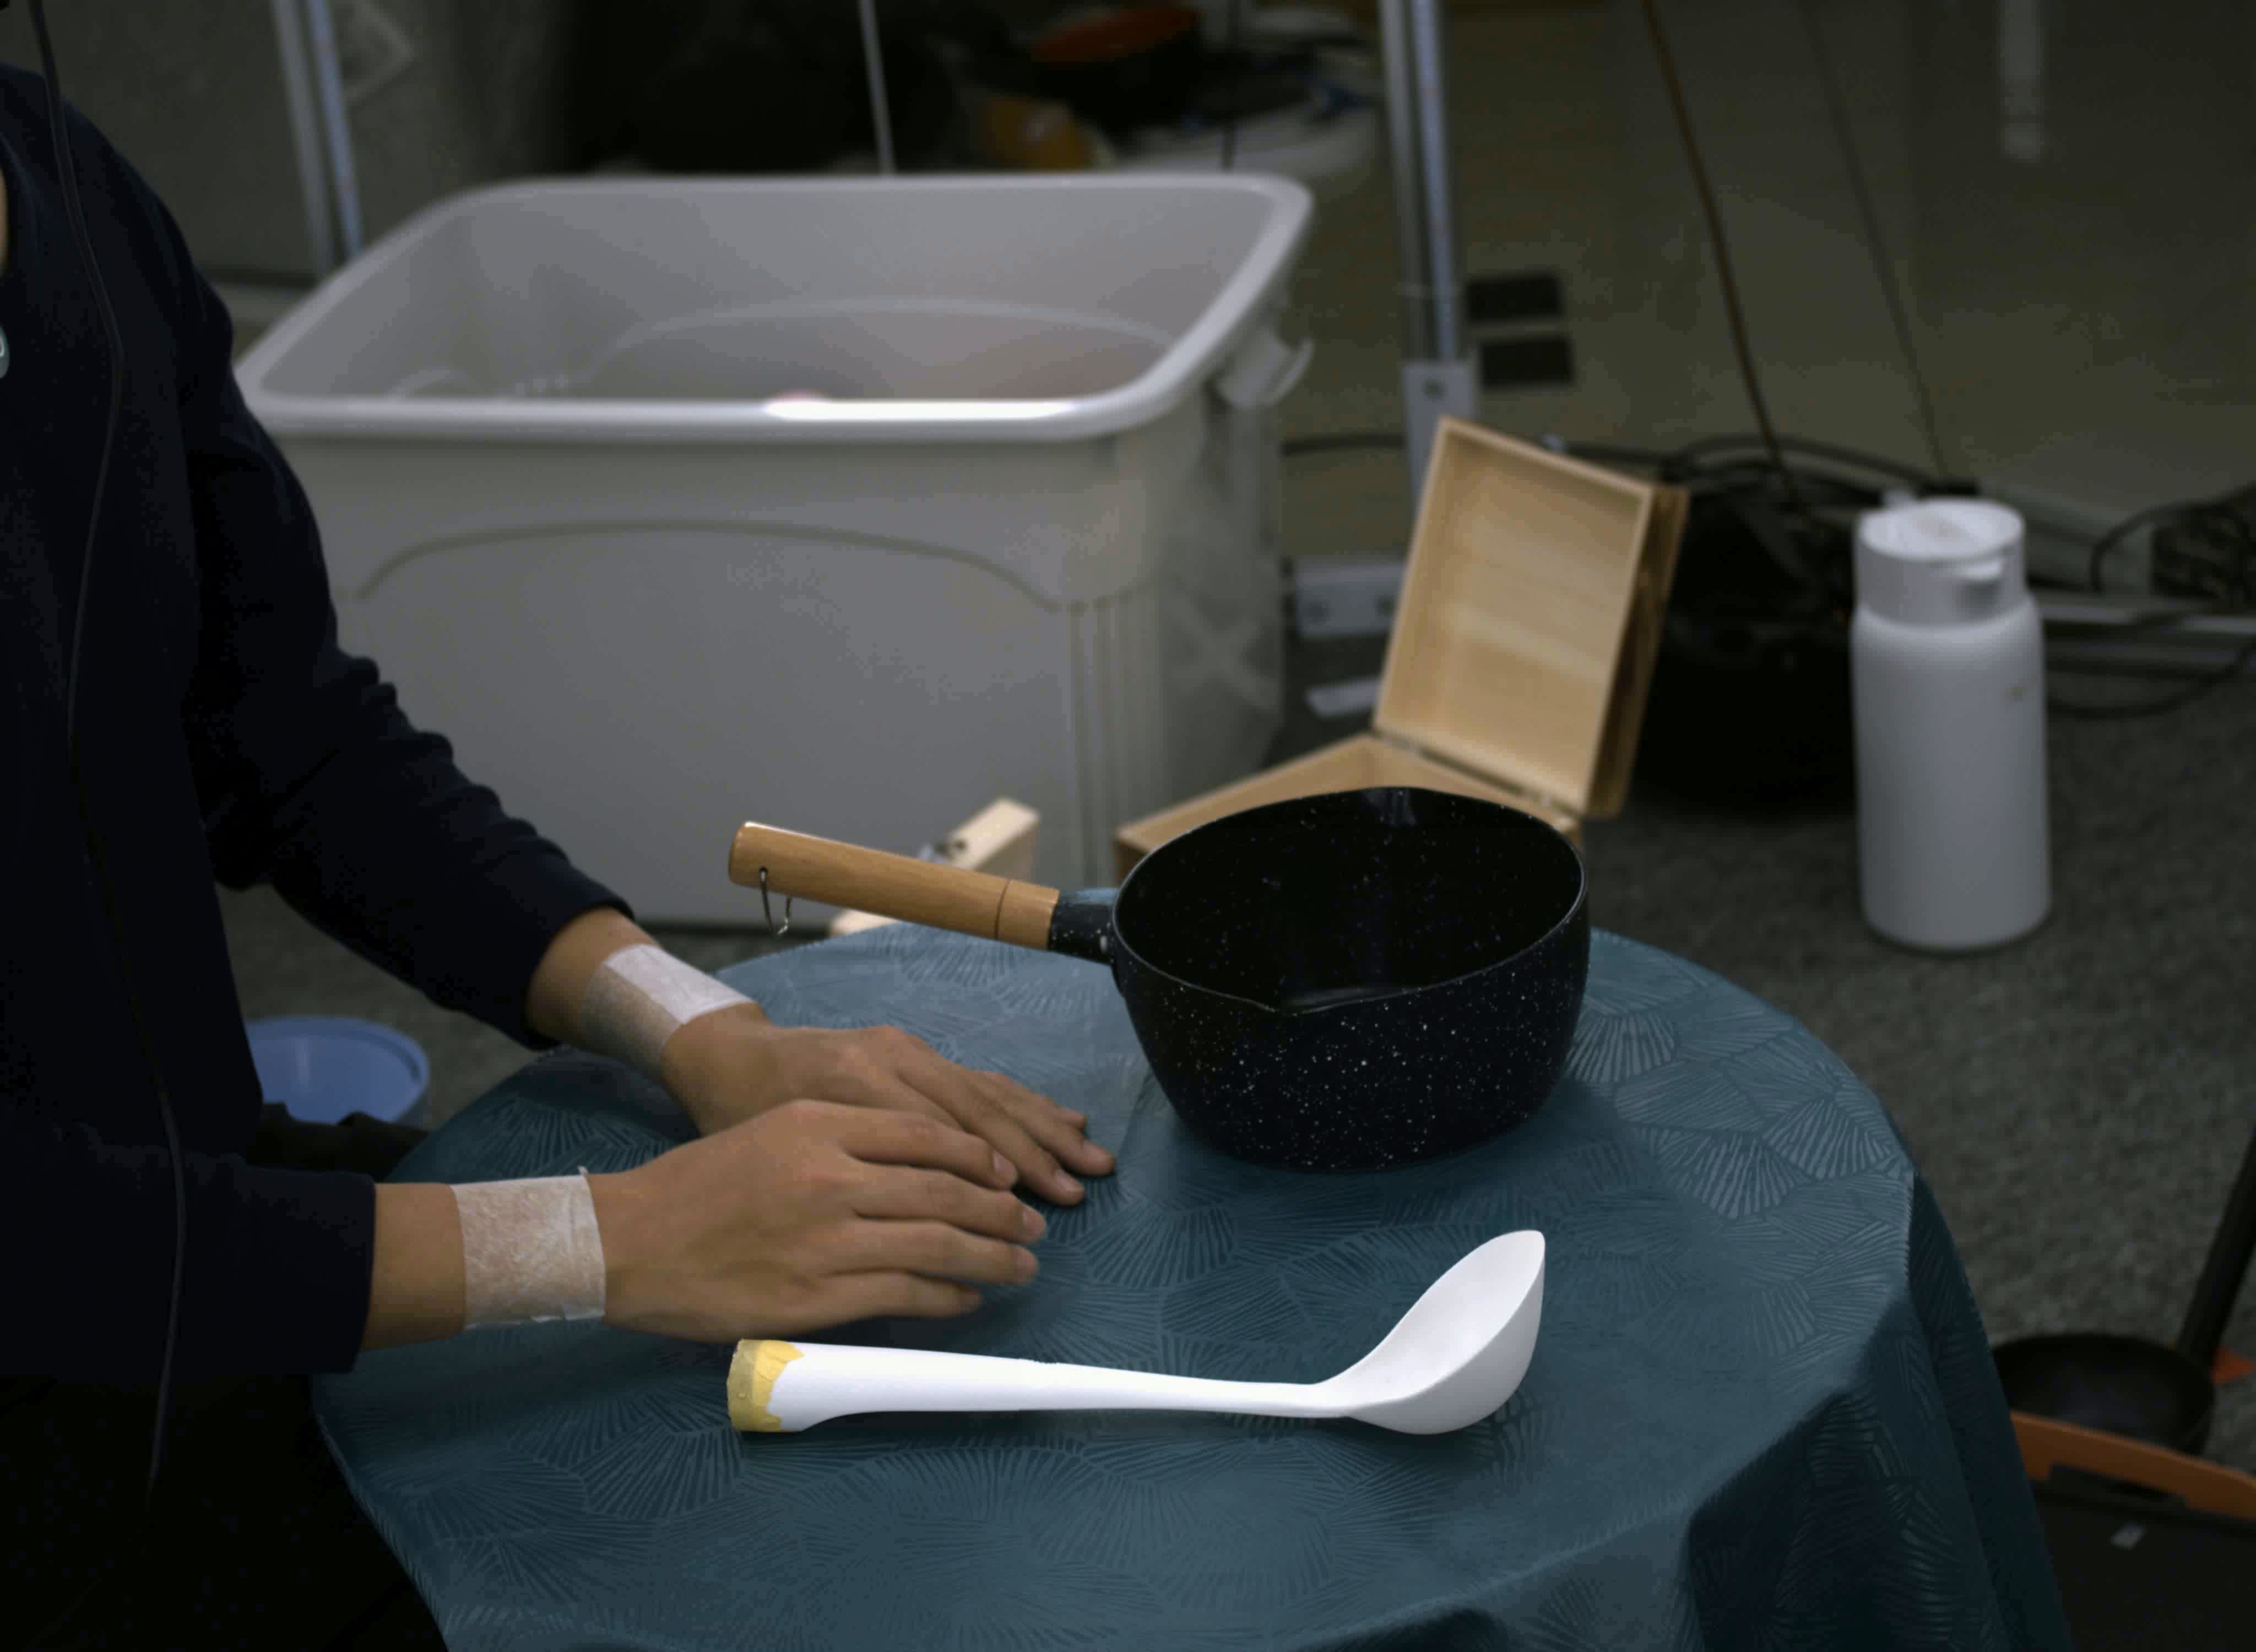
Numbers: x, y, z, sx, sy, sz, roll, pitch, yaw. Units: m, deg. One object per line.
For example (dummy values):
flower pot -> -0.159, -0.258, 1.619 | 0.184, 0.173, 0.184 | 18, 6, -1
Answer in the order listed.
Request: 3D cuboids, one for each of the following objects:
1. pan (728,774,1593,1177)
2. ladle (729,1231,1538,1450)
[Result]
pan -> 0.011, 0.051, 2.201 | 0.342, 0.110, 0.204 | 1, 27, 13
ladle -> 0.001, 0.184, 1.973 | 0.292, 0.071, 0.088 | -2, 33, 12
